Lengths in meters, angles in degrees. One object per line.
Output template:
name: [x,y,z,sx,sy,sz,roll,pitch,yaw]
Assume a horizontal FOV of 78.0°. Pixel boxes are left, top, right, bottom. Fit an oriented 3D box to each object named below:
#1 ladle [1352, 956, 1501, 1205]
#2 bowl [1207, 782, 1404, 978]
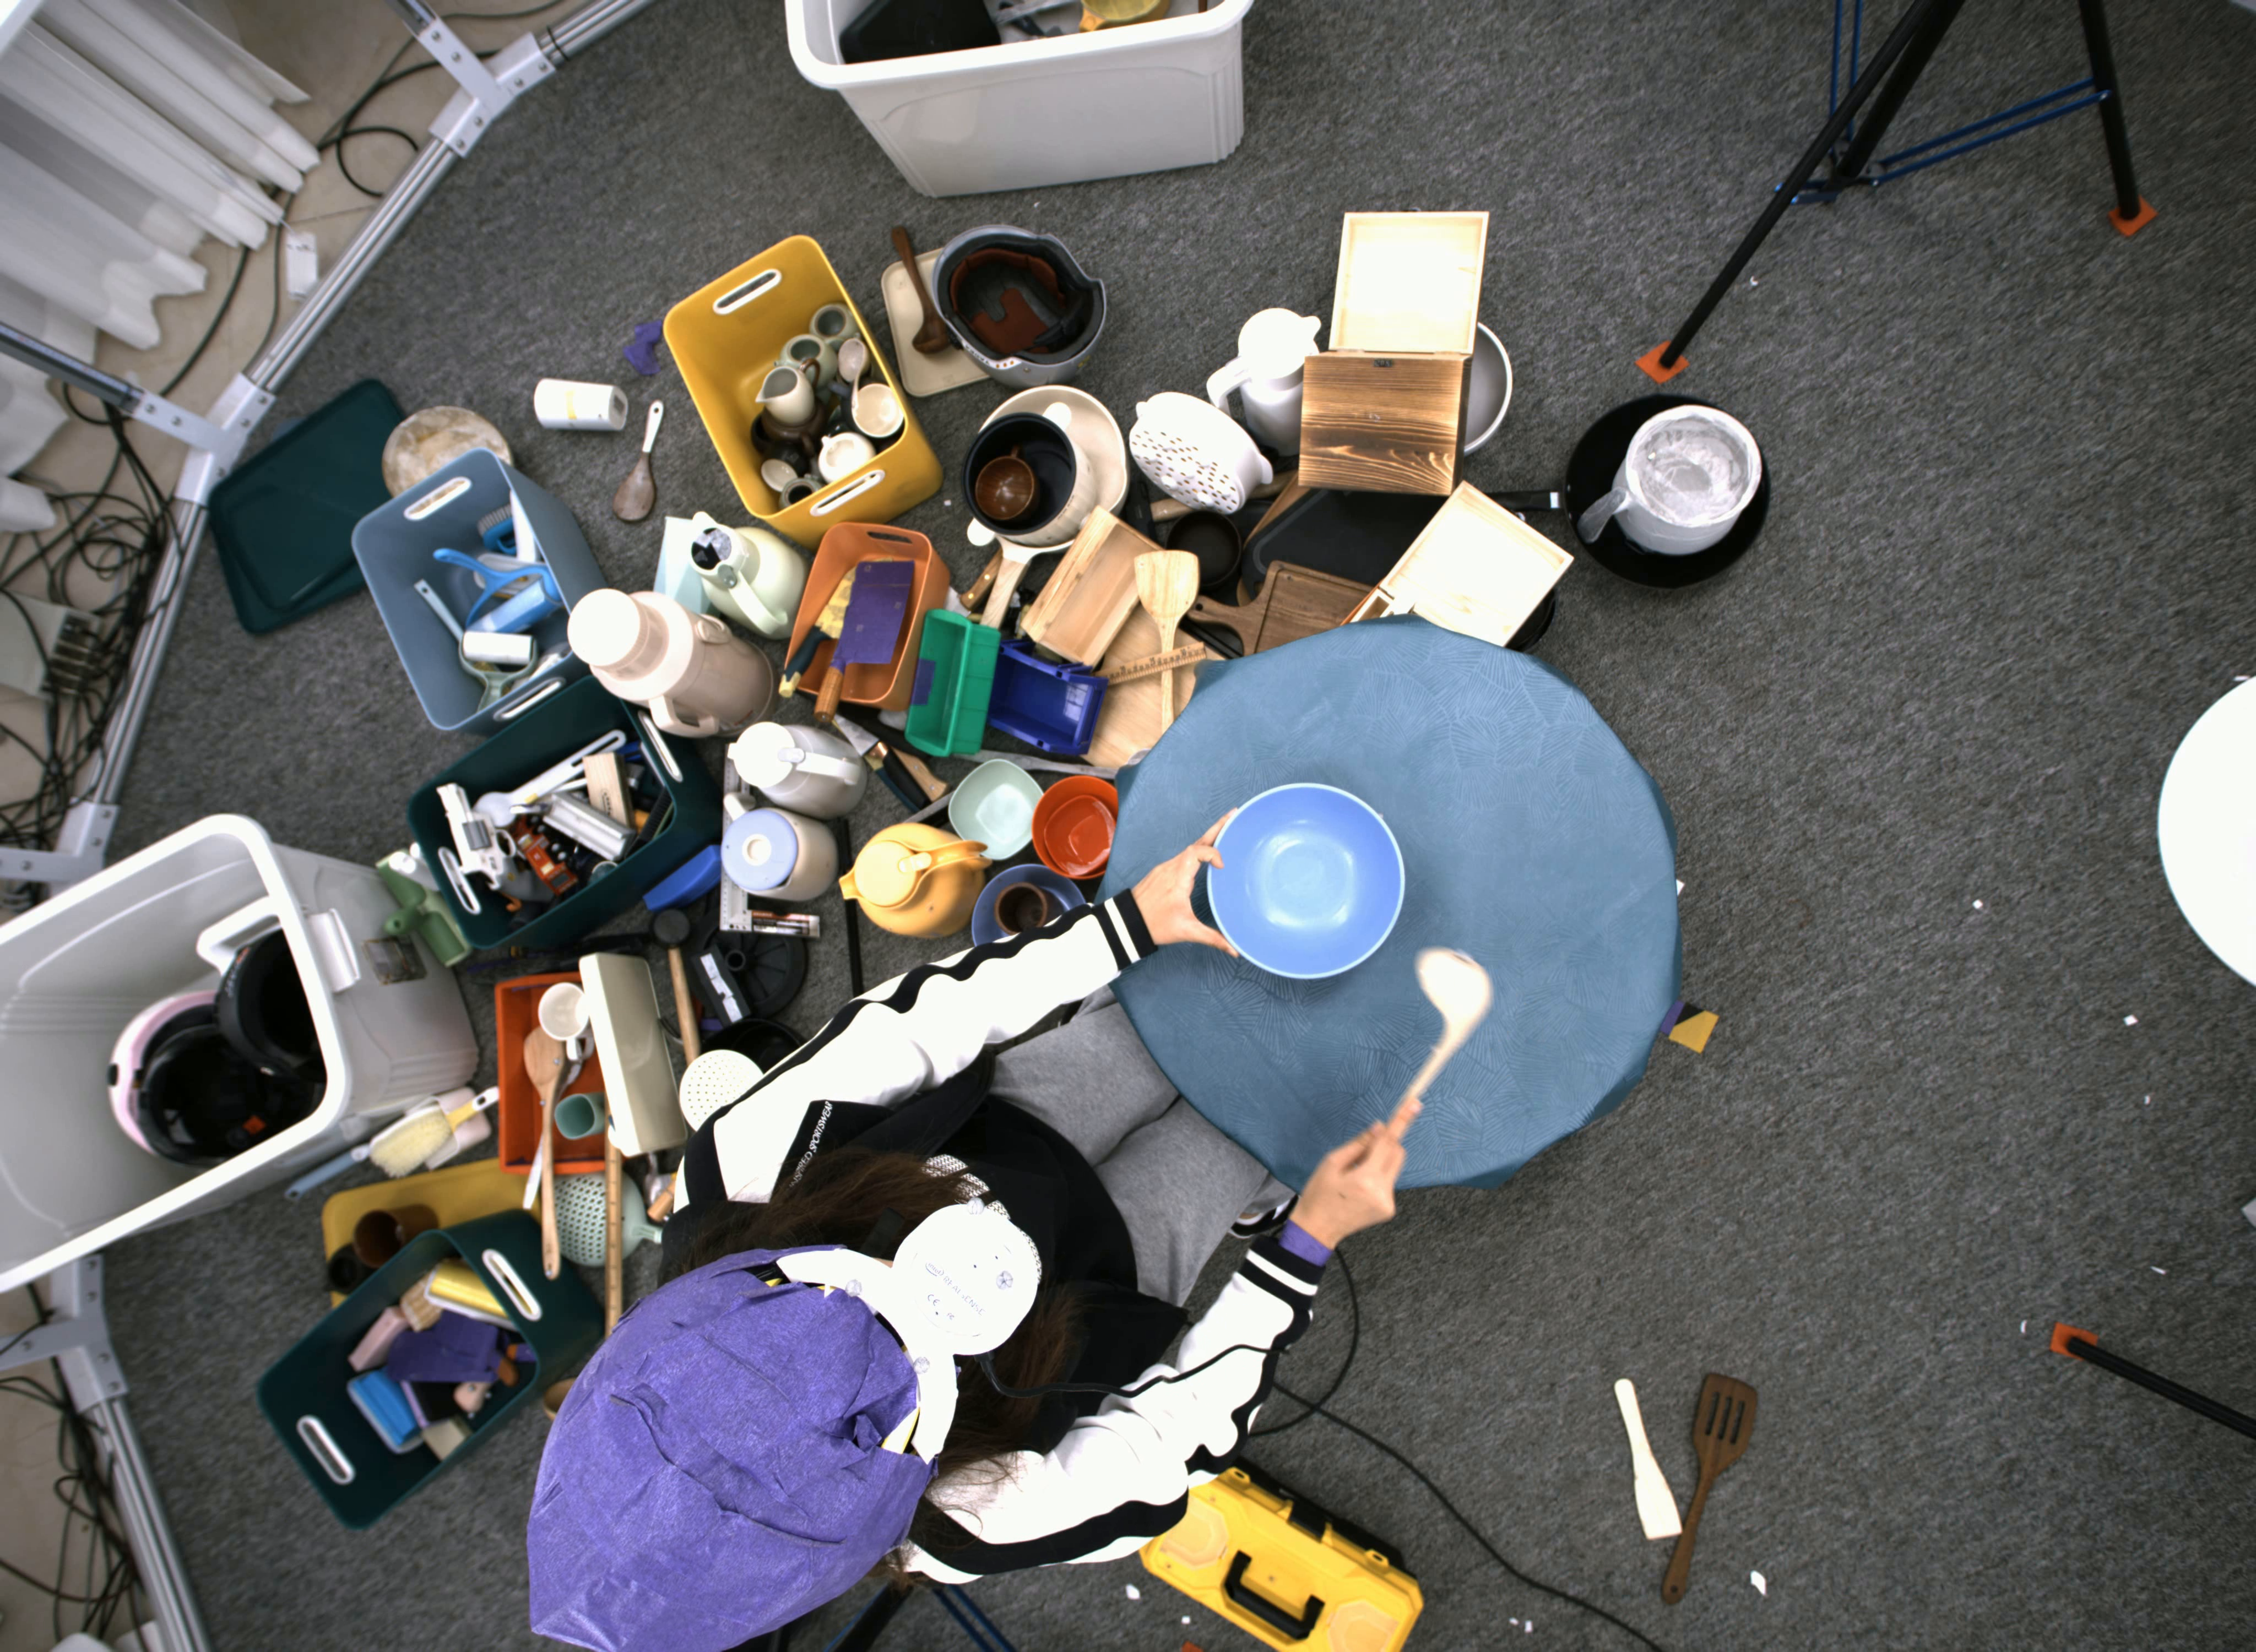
ladle: [0.262,0.235,1.301,0.258,0.072,0.071,-61,35,20]
bowl: [0.181,0.054,1.427,0.197,0.095,0.196,0,92,7]
